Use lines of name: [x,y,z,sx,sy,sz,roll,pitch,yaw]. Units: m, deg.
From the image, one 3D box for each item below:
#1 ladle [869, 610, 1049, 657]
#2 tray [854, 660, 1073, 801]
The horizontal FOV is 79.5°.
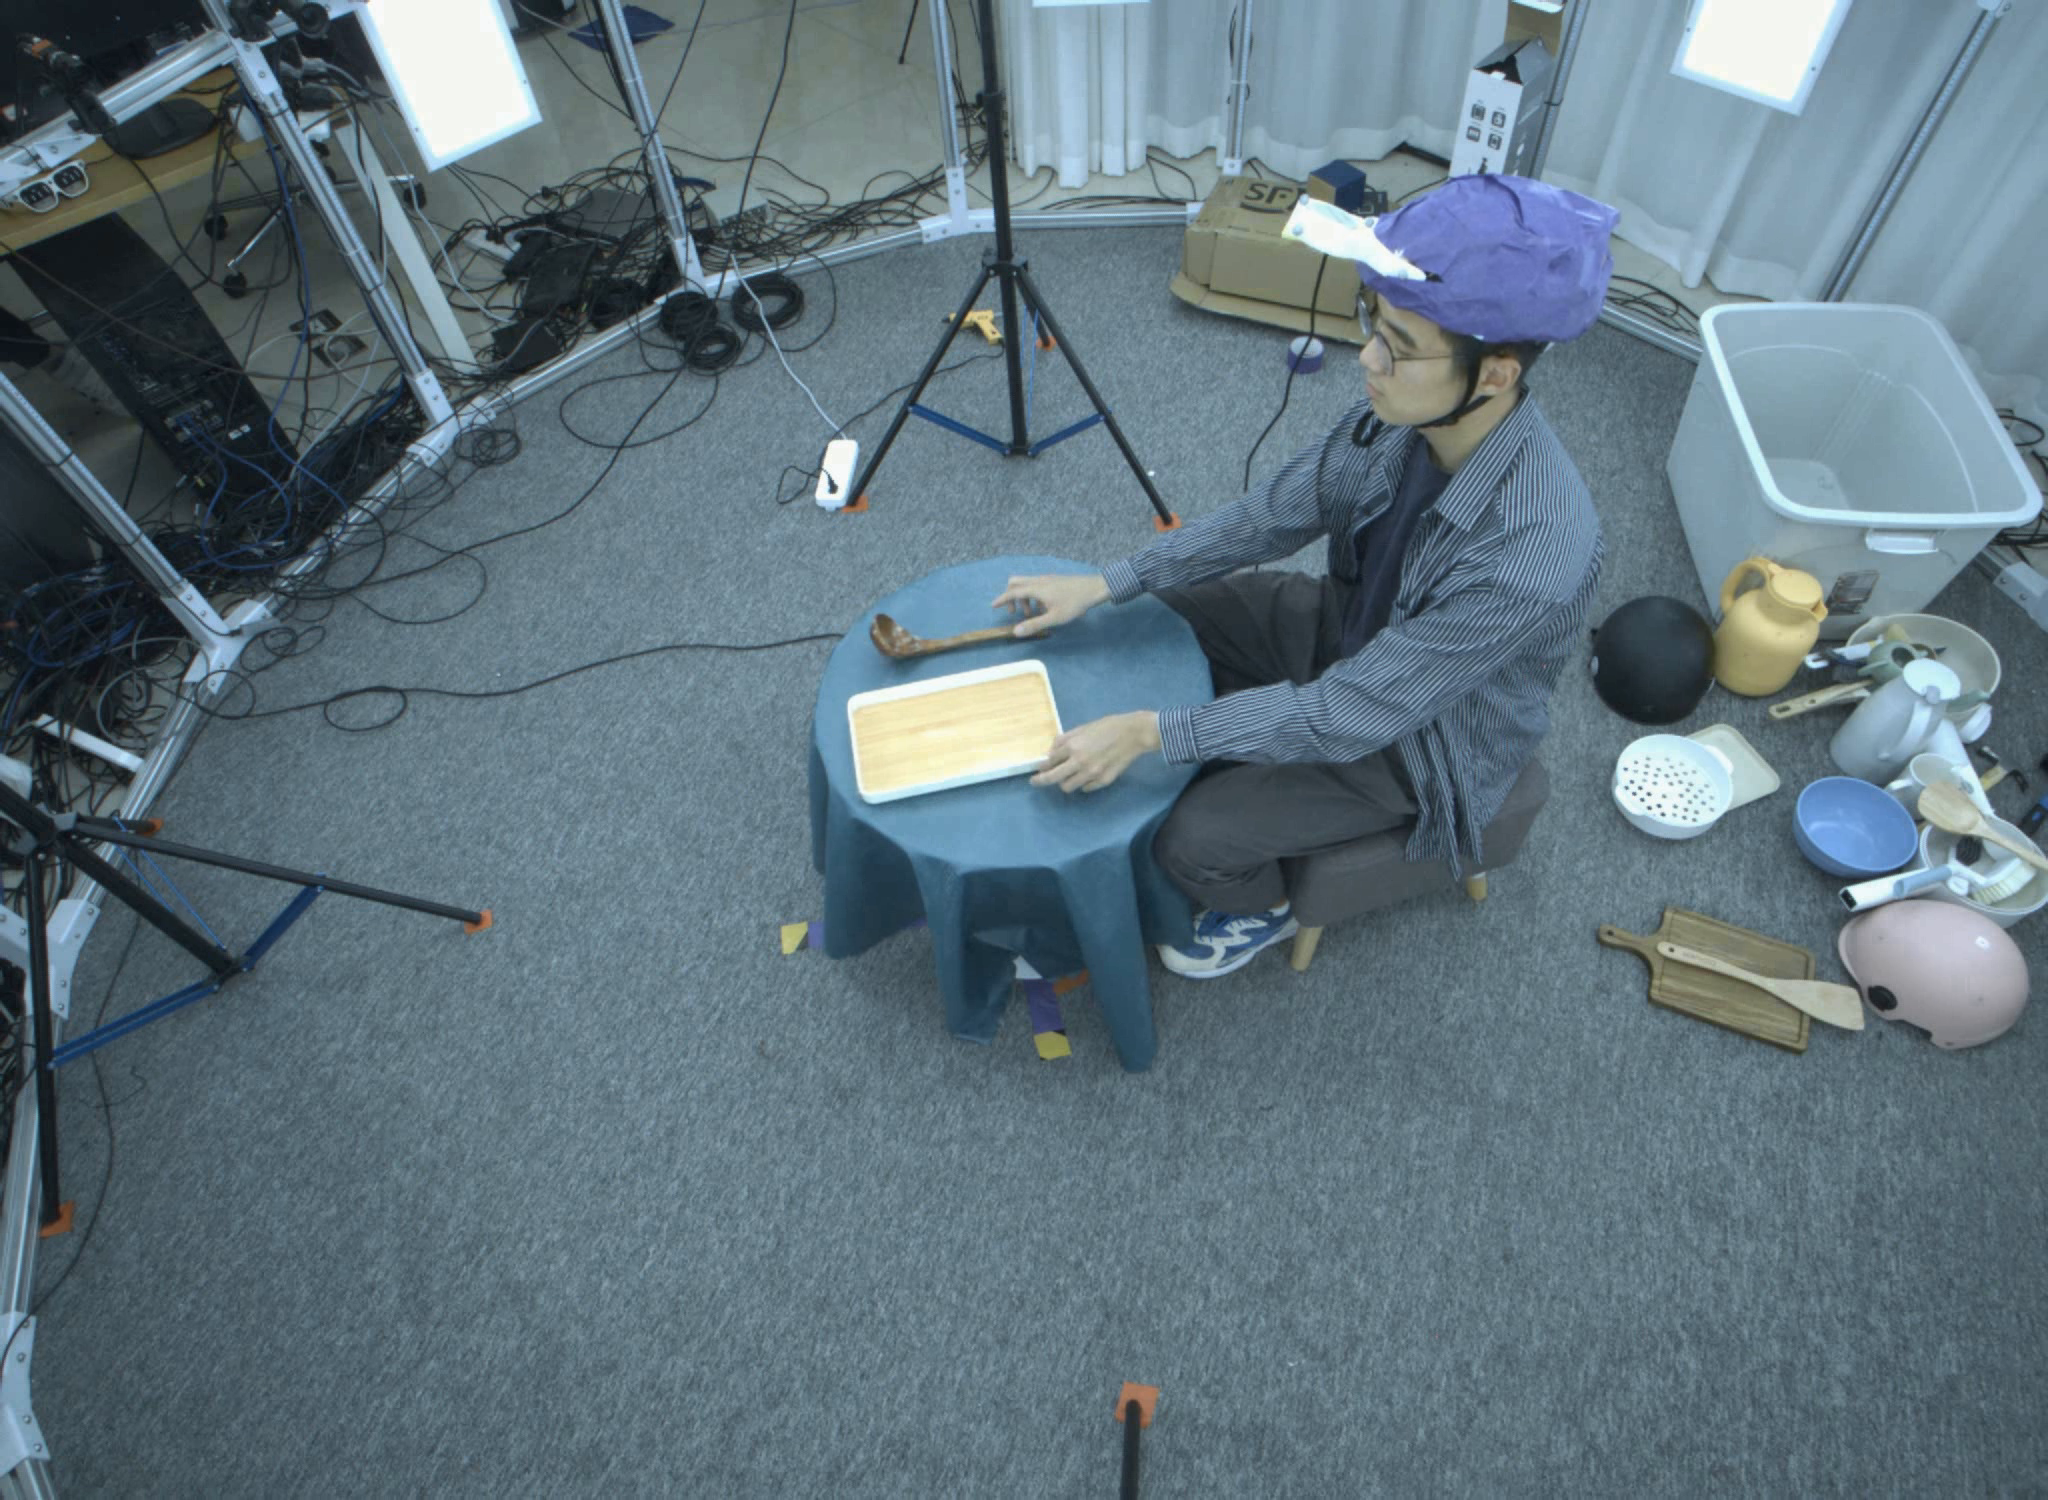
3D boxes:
ladle: [-0.101,-0.190,1.883,0.275,0.077,0.081,-8,51,-3]
tray: [-0.091,-0.031,1.796,0.301,0.028,0.188,-11,53,-5]
